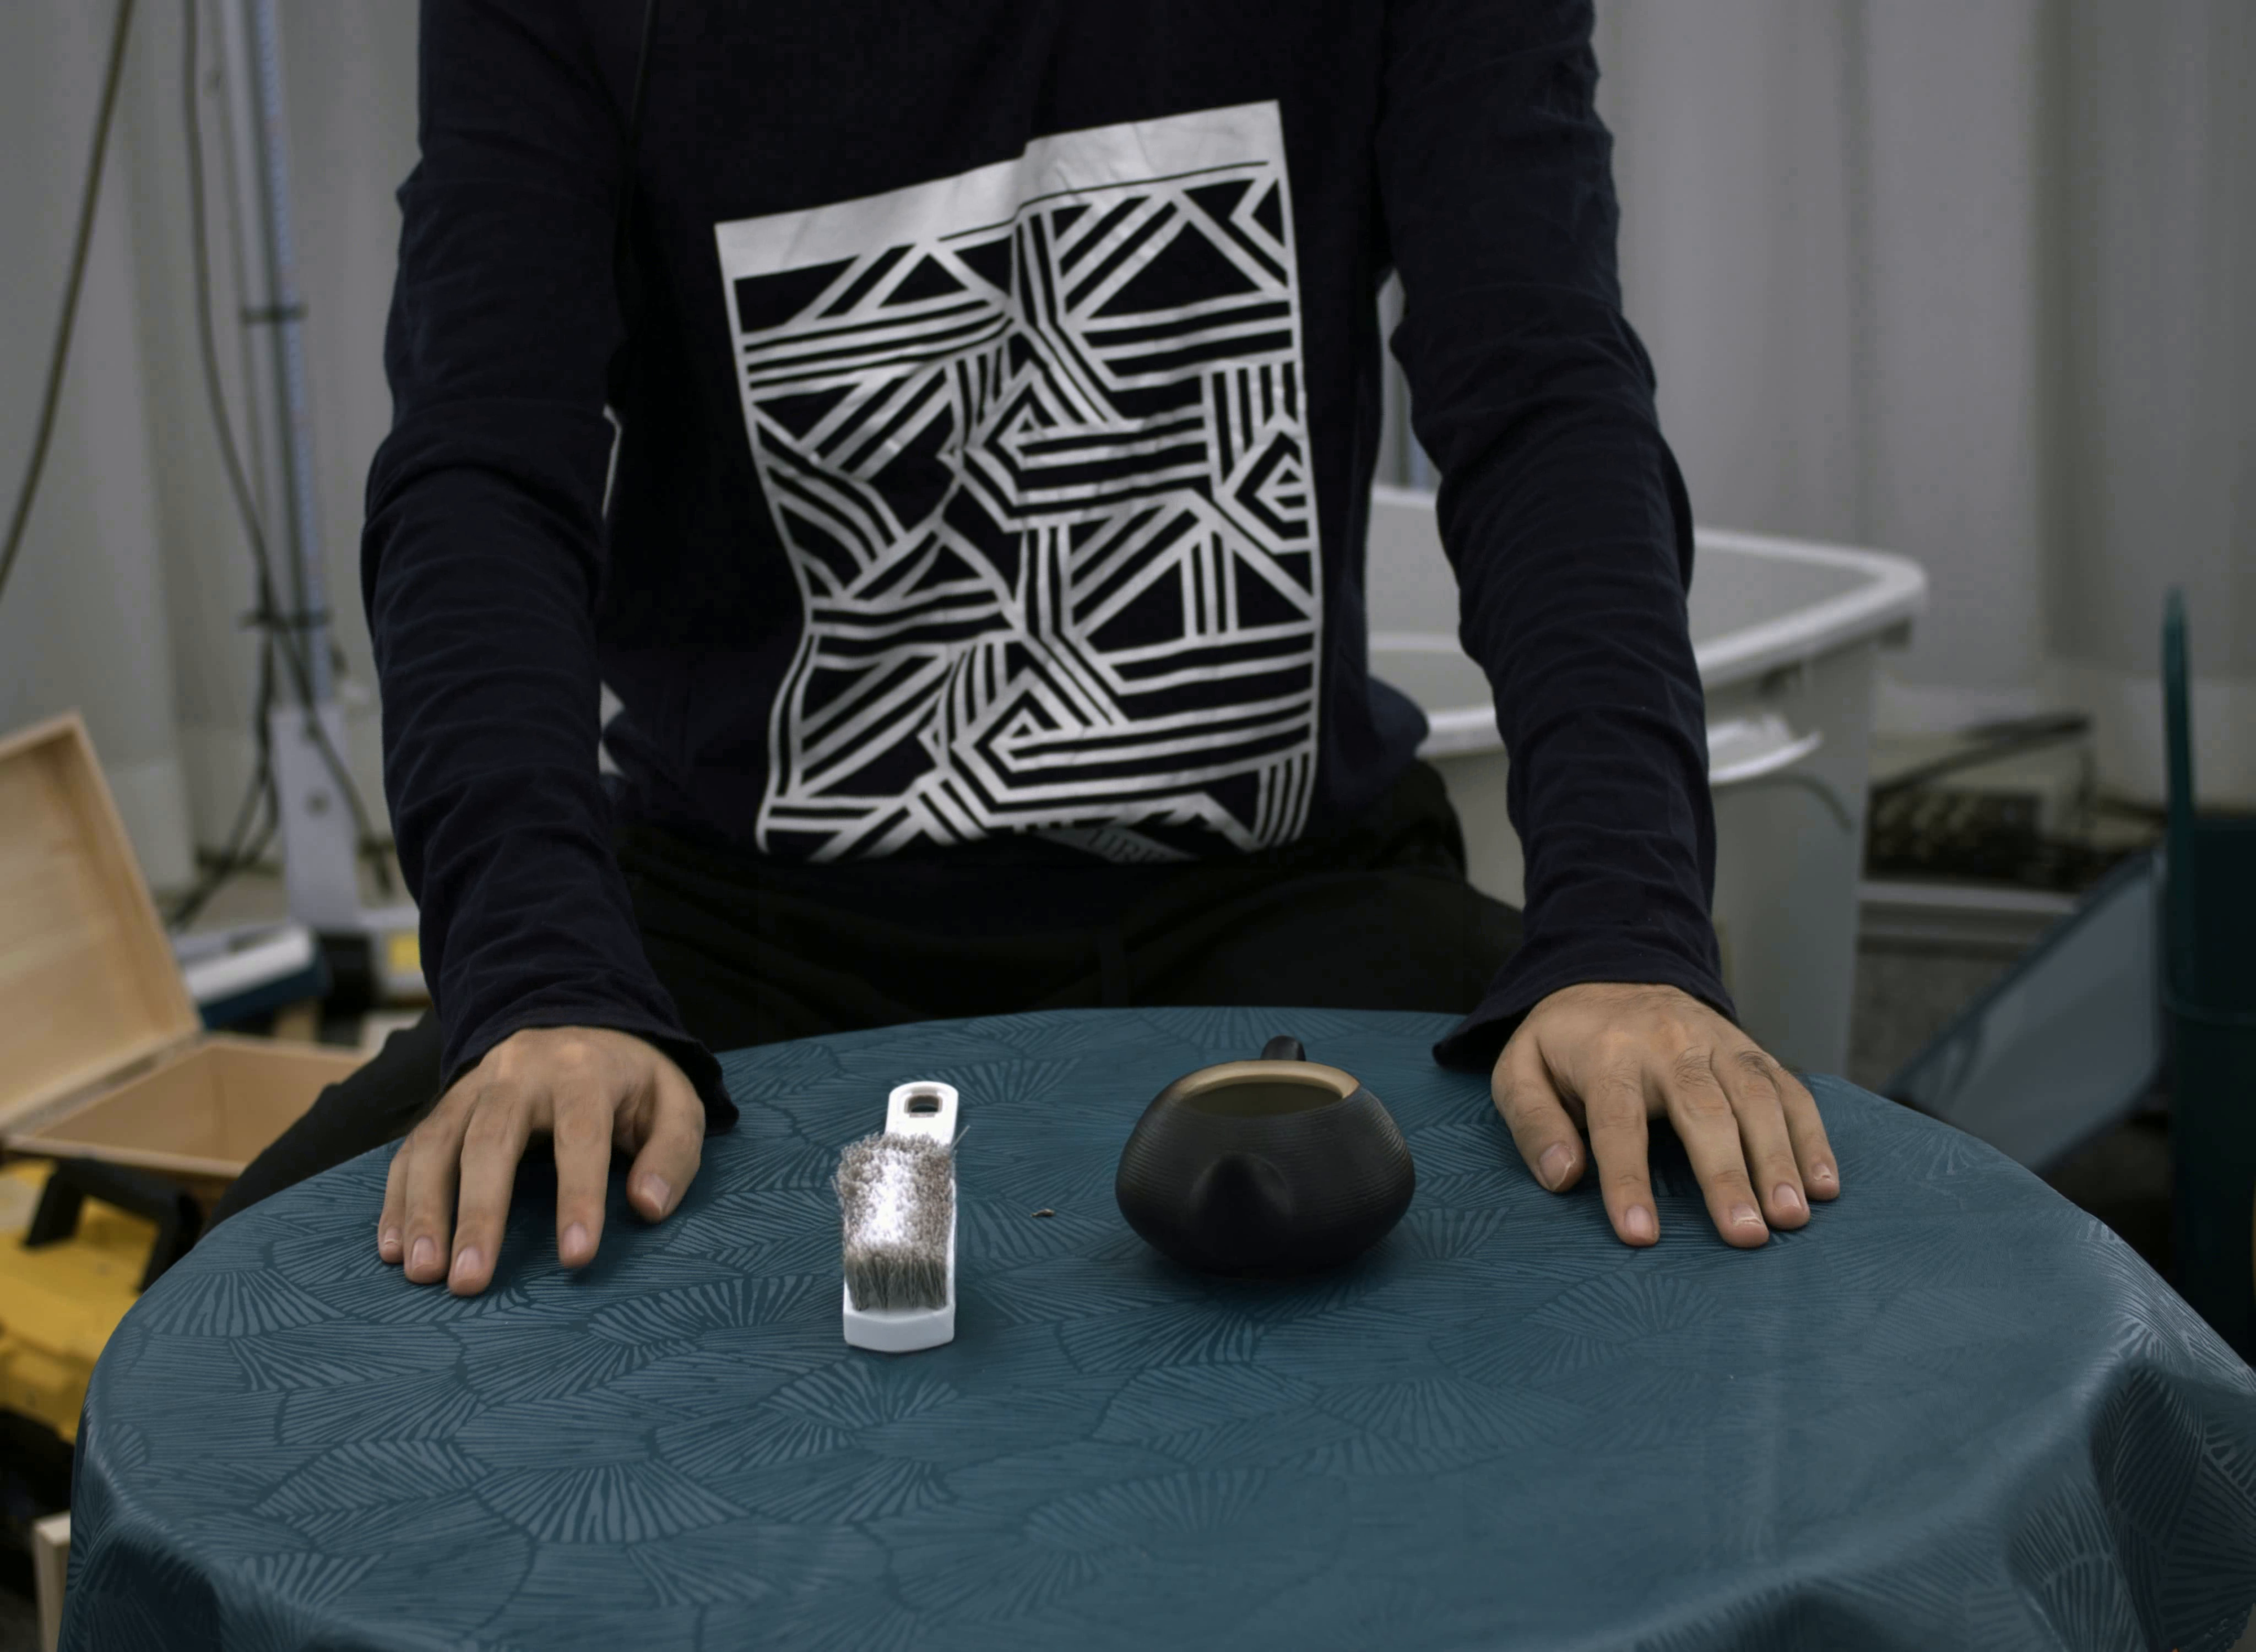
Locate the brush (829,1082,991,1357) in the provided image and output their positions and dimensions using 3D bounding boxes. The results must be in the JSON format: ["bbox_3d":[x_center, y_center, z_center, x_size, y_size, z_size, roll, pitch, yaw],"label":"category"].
[{"bbox_3d":[-0.064,0.101,1.686,0.034,0.050,0.245,-4,15,4],"label":"brush"}]

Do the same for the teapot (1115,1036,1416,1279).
[{"bbox_3d":[0.042,0.103,1.648,0.091,0.053,0.134,2,15,9],"label":"teapot"}]
